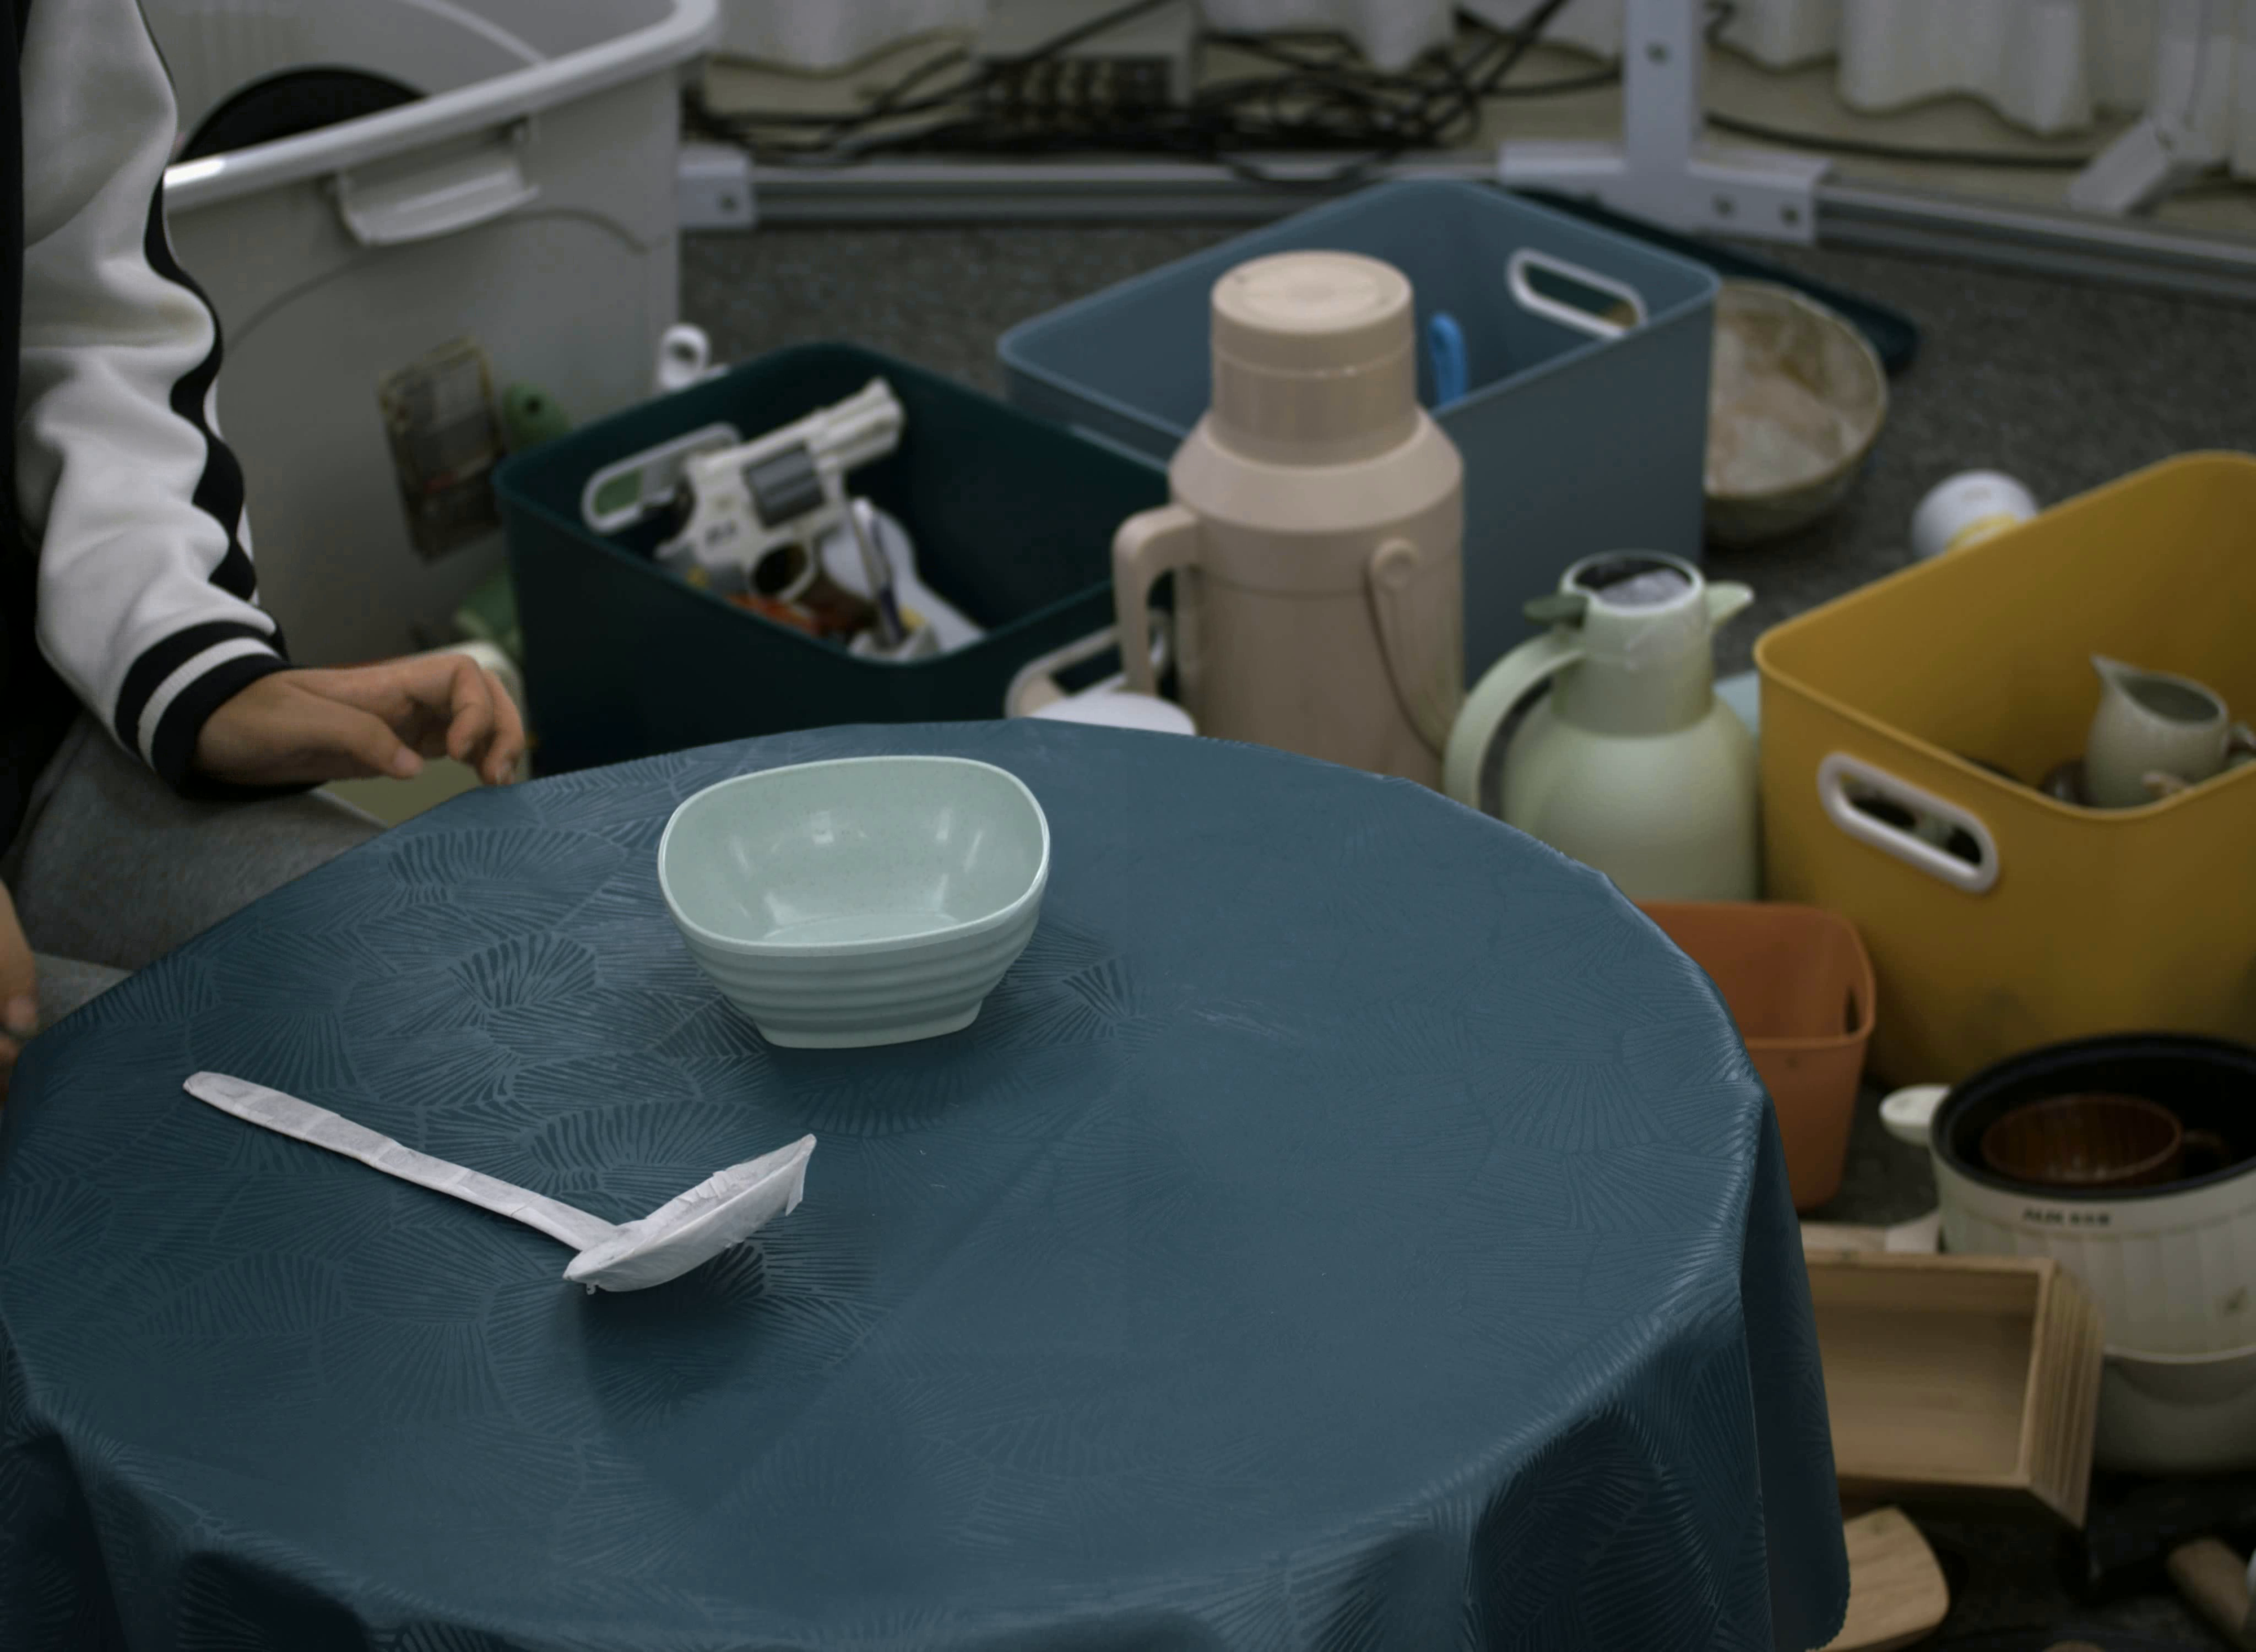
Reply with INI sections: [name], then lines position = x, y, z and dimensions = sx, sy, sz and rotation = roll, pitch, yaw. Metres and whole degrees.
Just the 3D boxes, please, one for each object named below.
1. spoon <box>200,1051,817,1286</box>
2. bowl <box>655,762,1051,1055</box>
[spoon]
position = -0.214, 0.096, 1.871
dimensions = 0.276, 0.059, 0.102
rotation = 20, 31, 37
[bowl]
position = -0.095, 0.035, 1.981
dimensions = 0.151, 0.058, 0.154
rotation = -2, 27, 1
